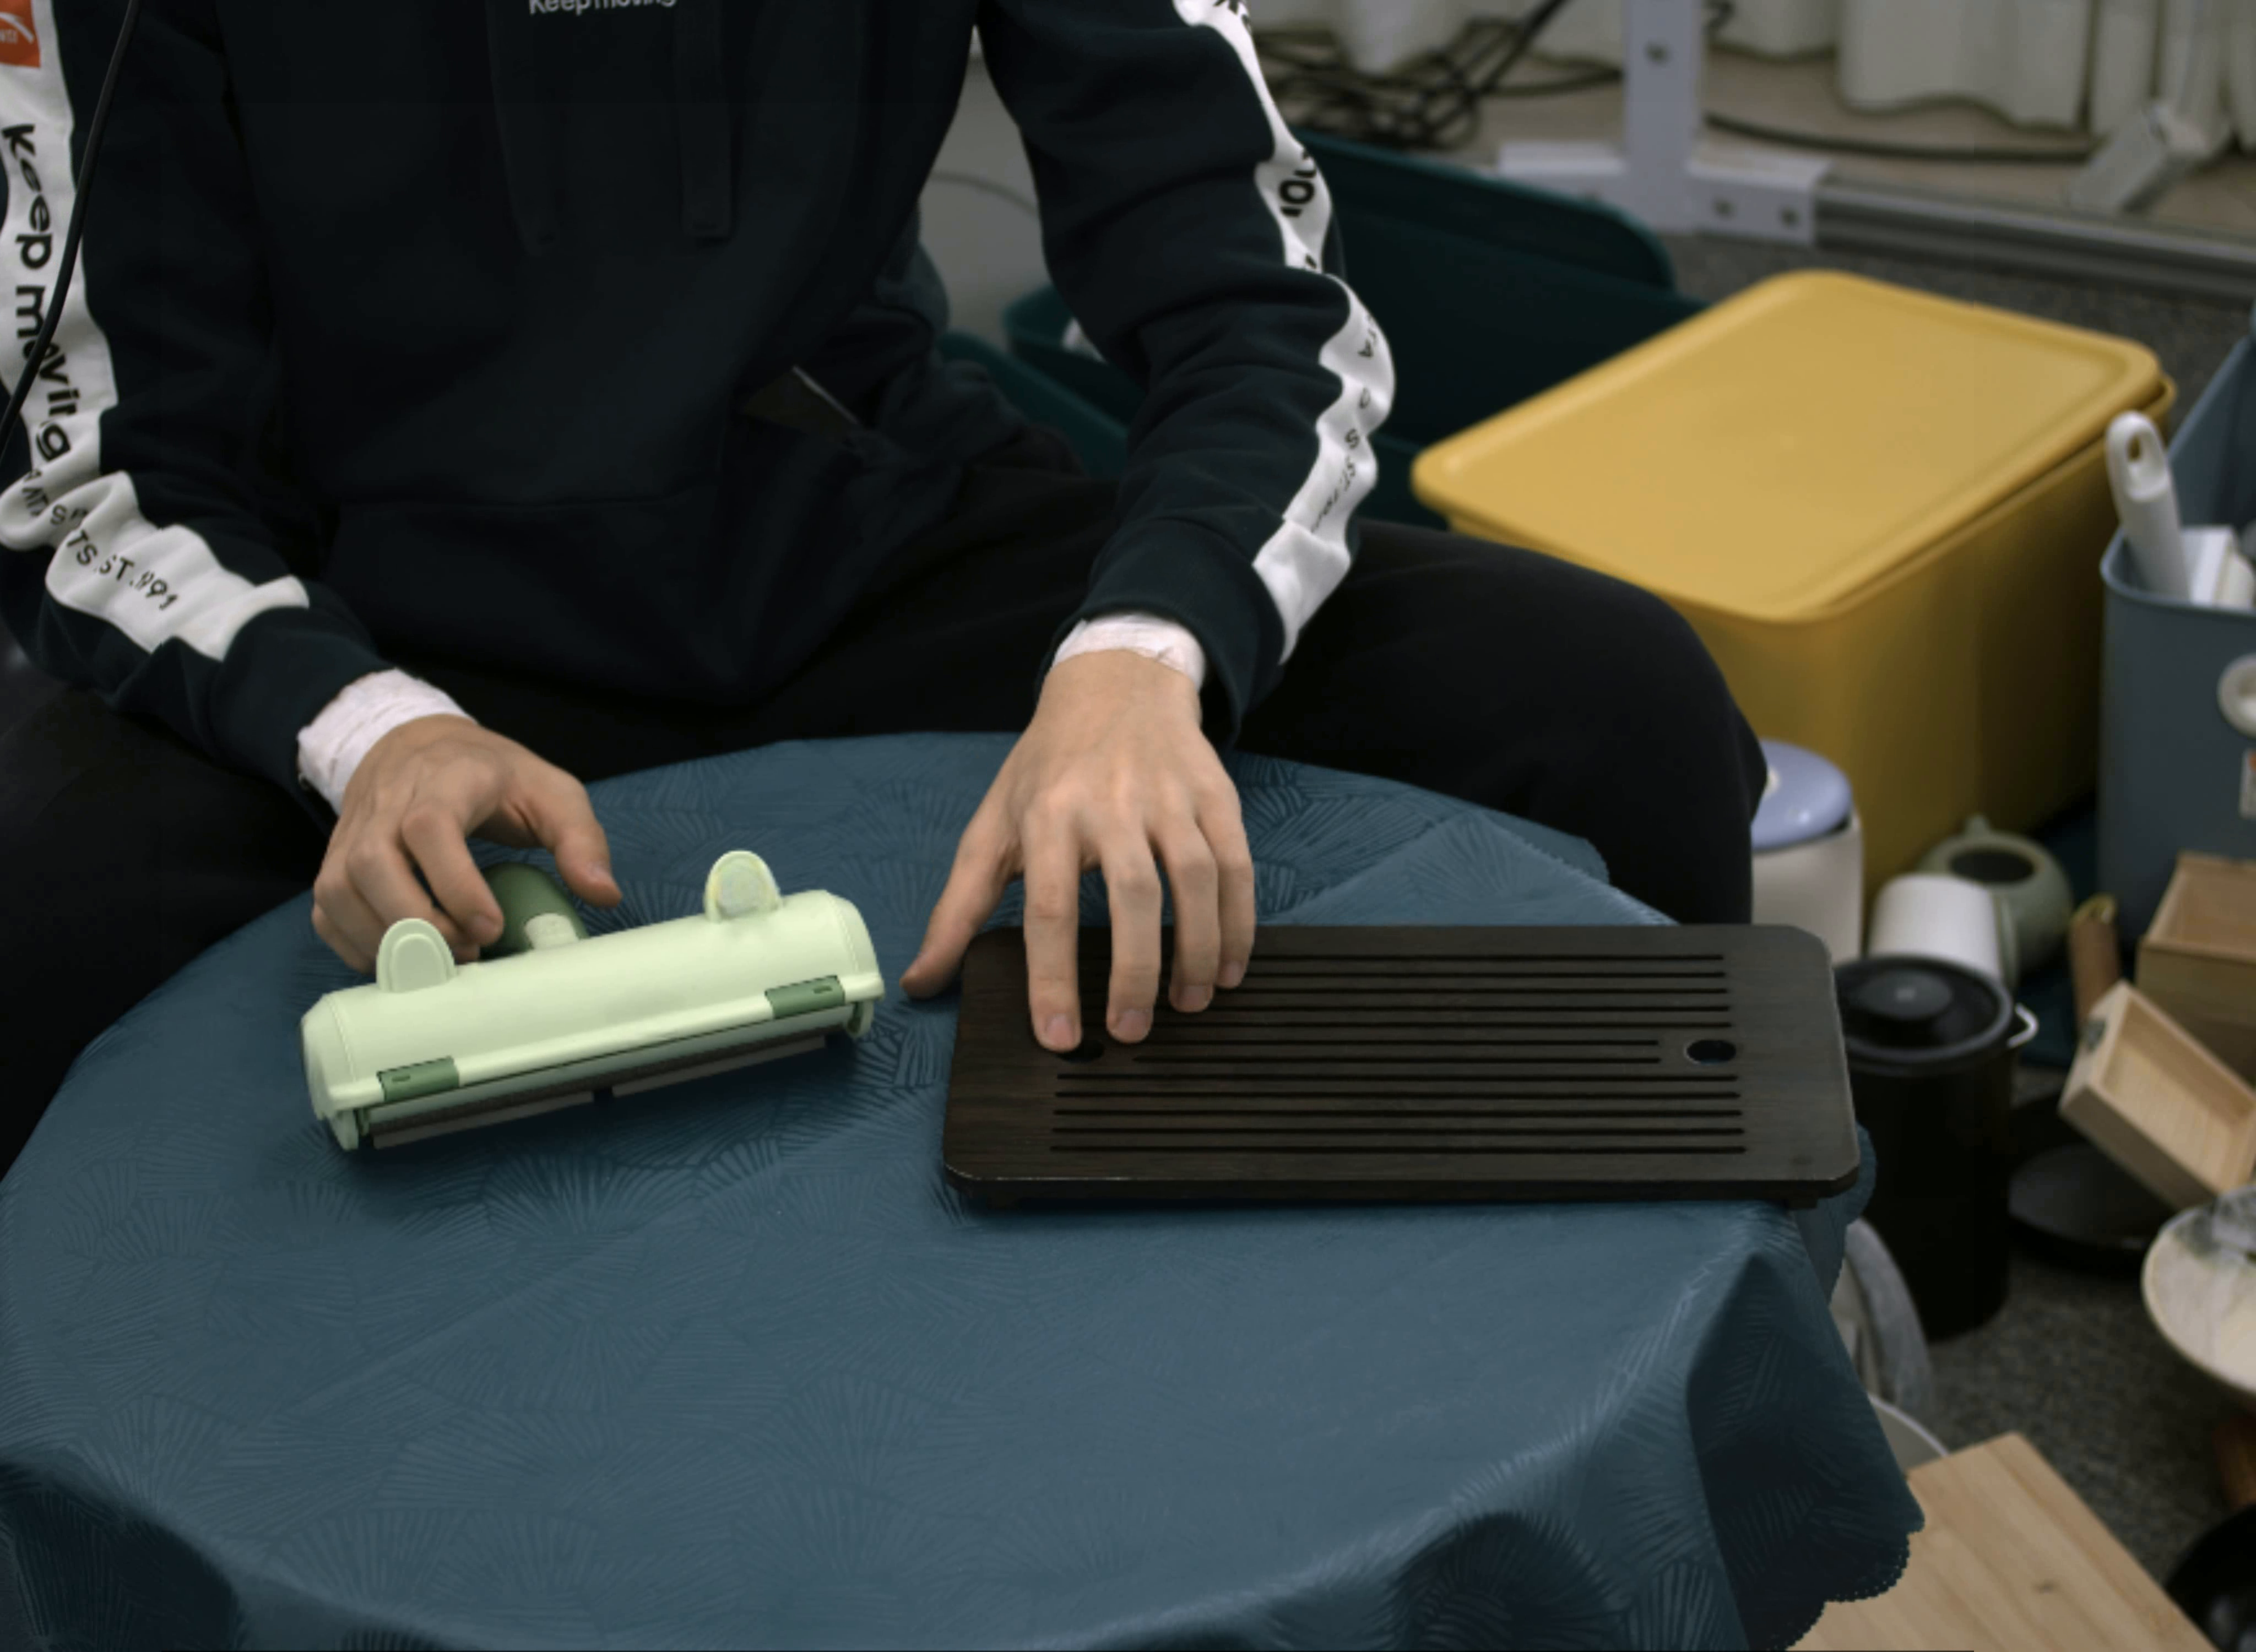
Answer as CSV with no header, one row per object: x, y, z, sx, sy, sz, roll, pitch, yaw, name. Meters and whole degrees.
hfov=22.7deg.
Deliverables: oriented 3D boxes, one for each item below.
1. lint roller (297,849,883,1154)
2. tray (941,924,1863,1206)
-0.202,0.034,1.962,0.199,0.081,0.185,-12,32,-17,lint roller
0.092,0.082,1.918,0.304,0.018,0.173,0,28,2,tray
